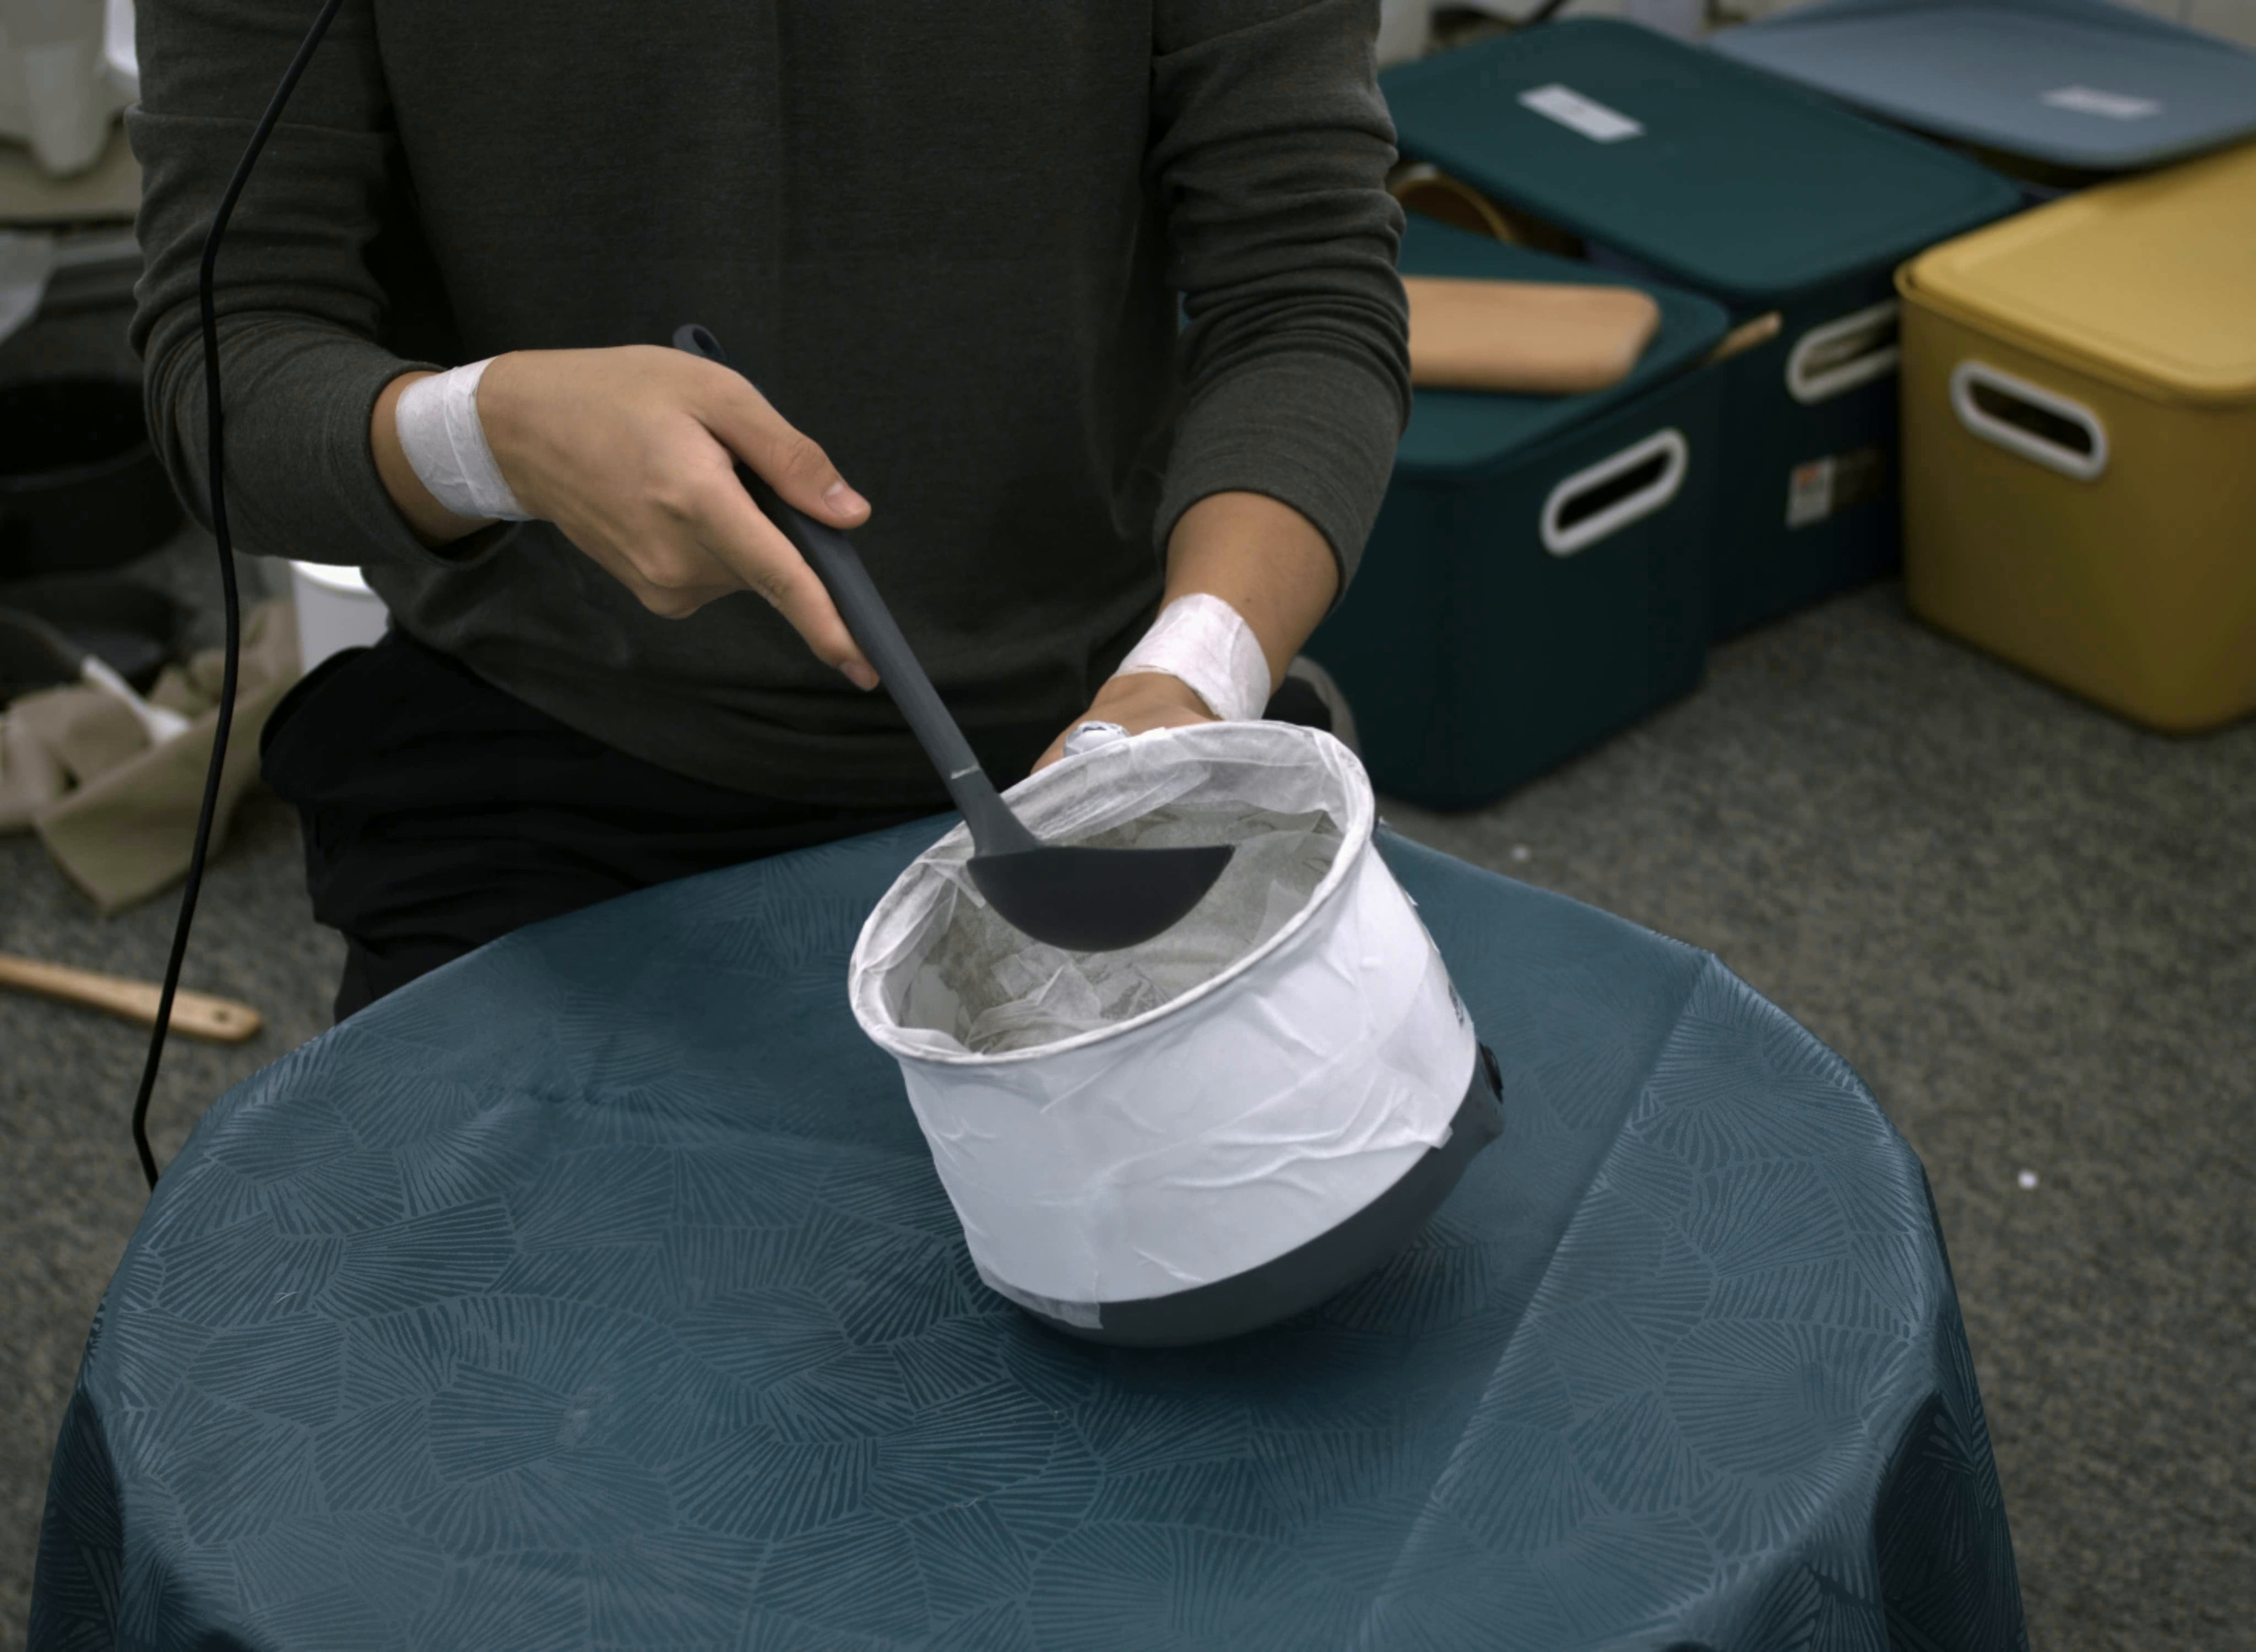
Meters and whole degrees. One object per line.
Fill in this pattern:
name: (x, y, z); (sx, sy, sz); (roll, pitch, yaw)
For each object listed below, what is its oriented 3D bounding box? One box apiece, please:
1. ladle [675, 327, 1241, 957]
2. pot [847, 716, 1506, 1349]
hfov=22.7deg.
ladle: (-0.068, -0.074, 1.820); (0.086, 0.063, 0.317); (1, 43, -40)
pot: (0.015, 0.056, 1.805); (0.178, 0.135, 0.237); (-21, 27, 5)
